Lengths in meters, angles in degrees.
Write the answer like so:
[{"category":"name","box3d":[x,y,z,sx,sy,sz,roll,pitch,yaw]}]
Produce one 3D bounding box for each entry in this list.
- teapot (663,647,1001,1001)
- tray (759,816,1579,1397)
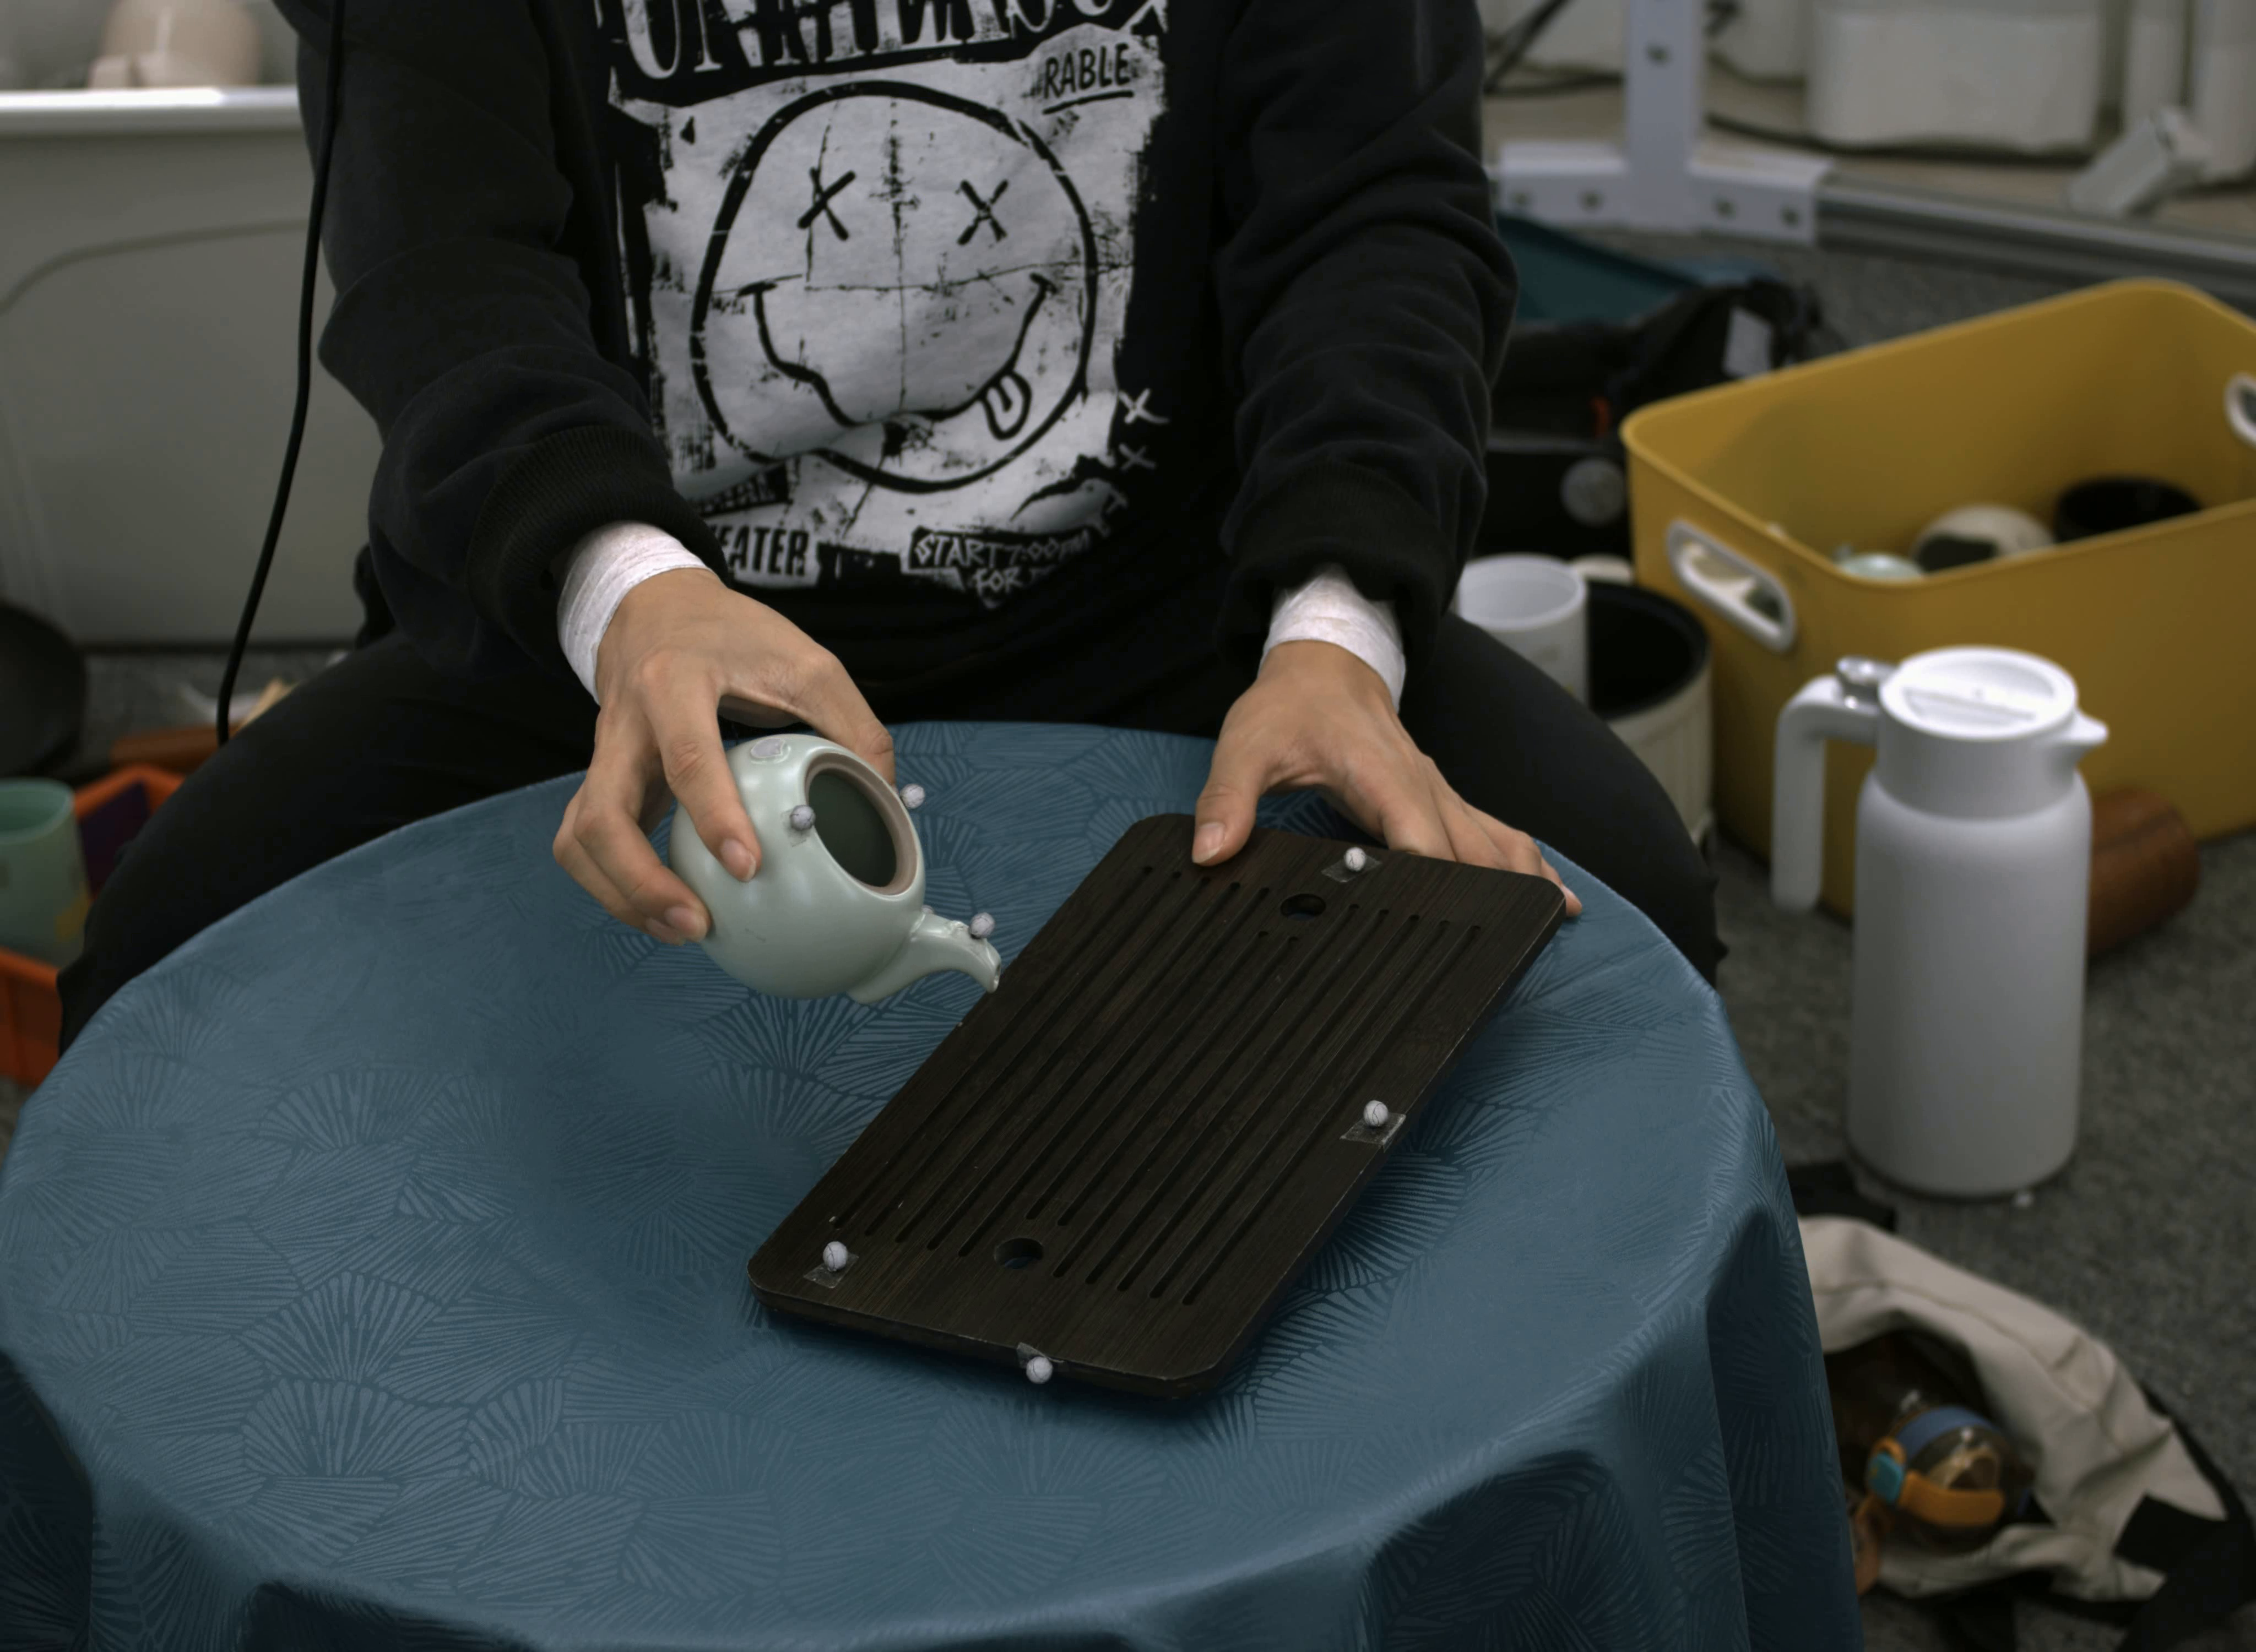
[{"category":"teapot","box3d":[-0.107,0.011,1.835,0.074,0.143,0.090,-29,14,27]},{"category":"tray","box3d":[0.020,0.090,1.876,0.169,0.018,0.311,10,34,25]}]
